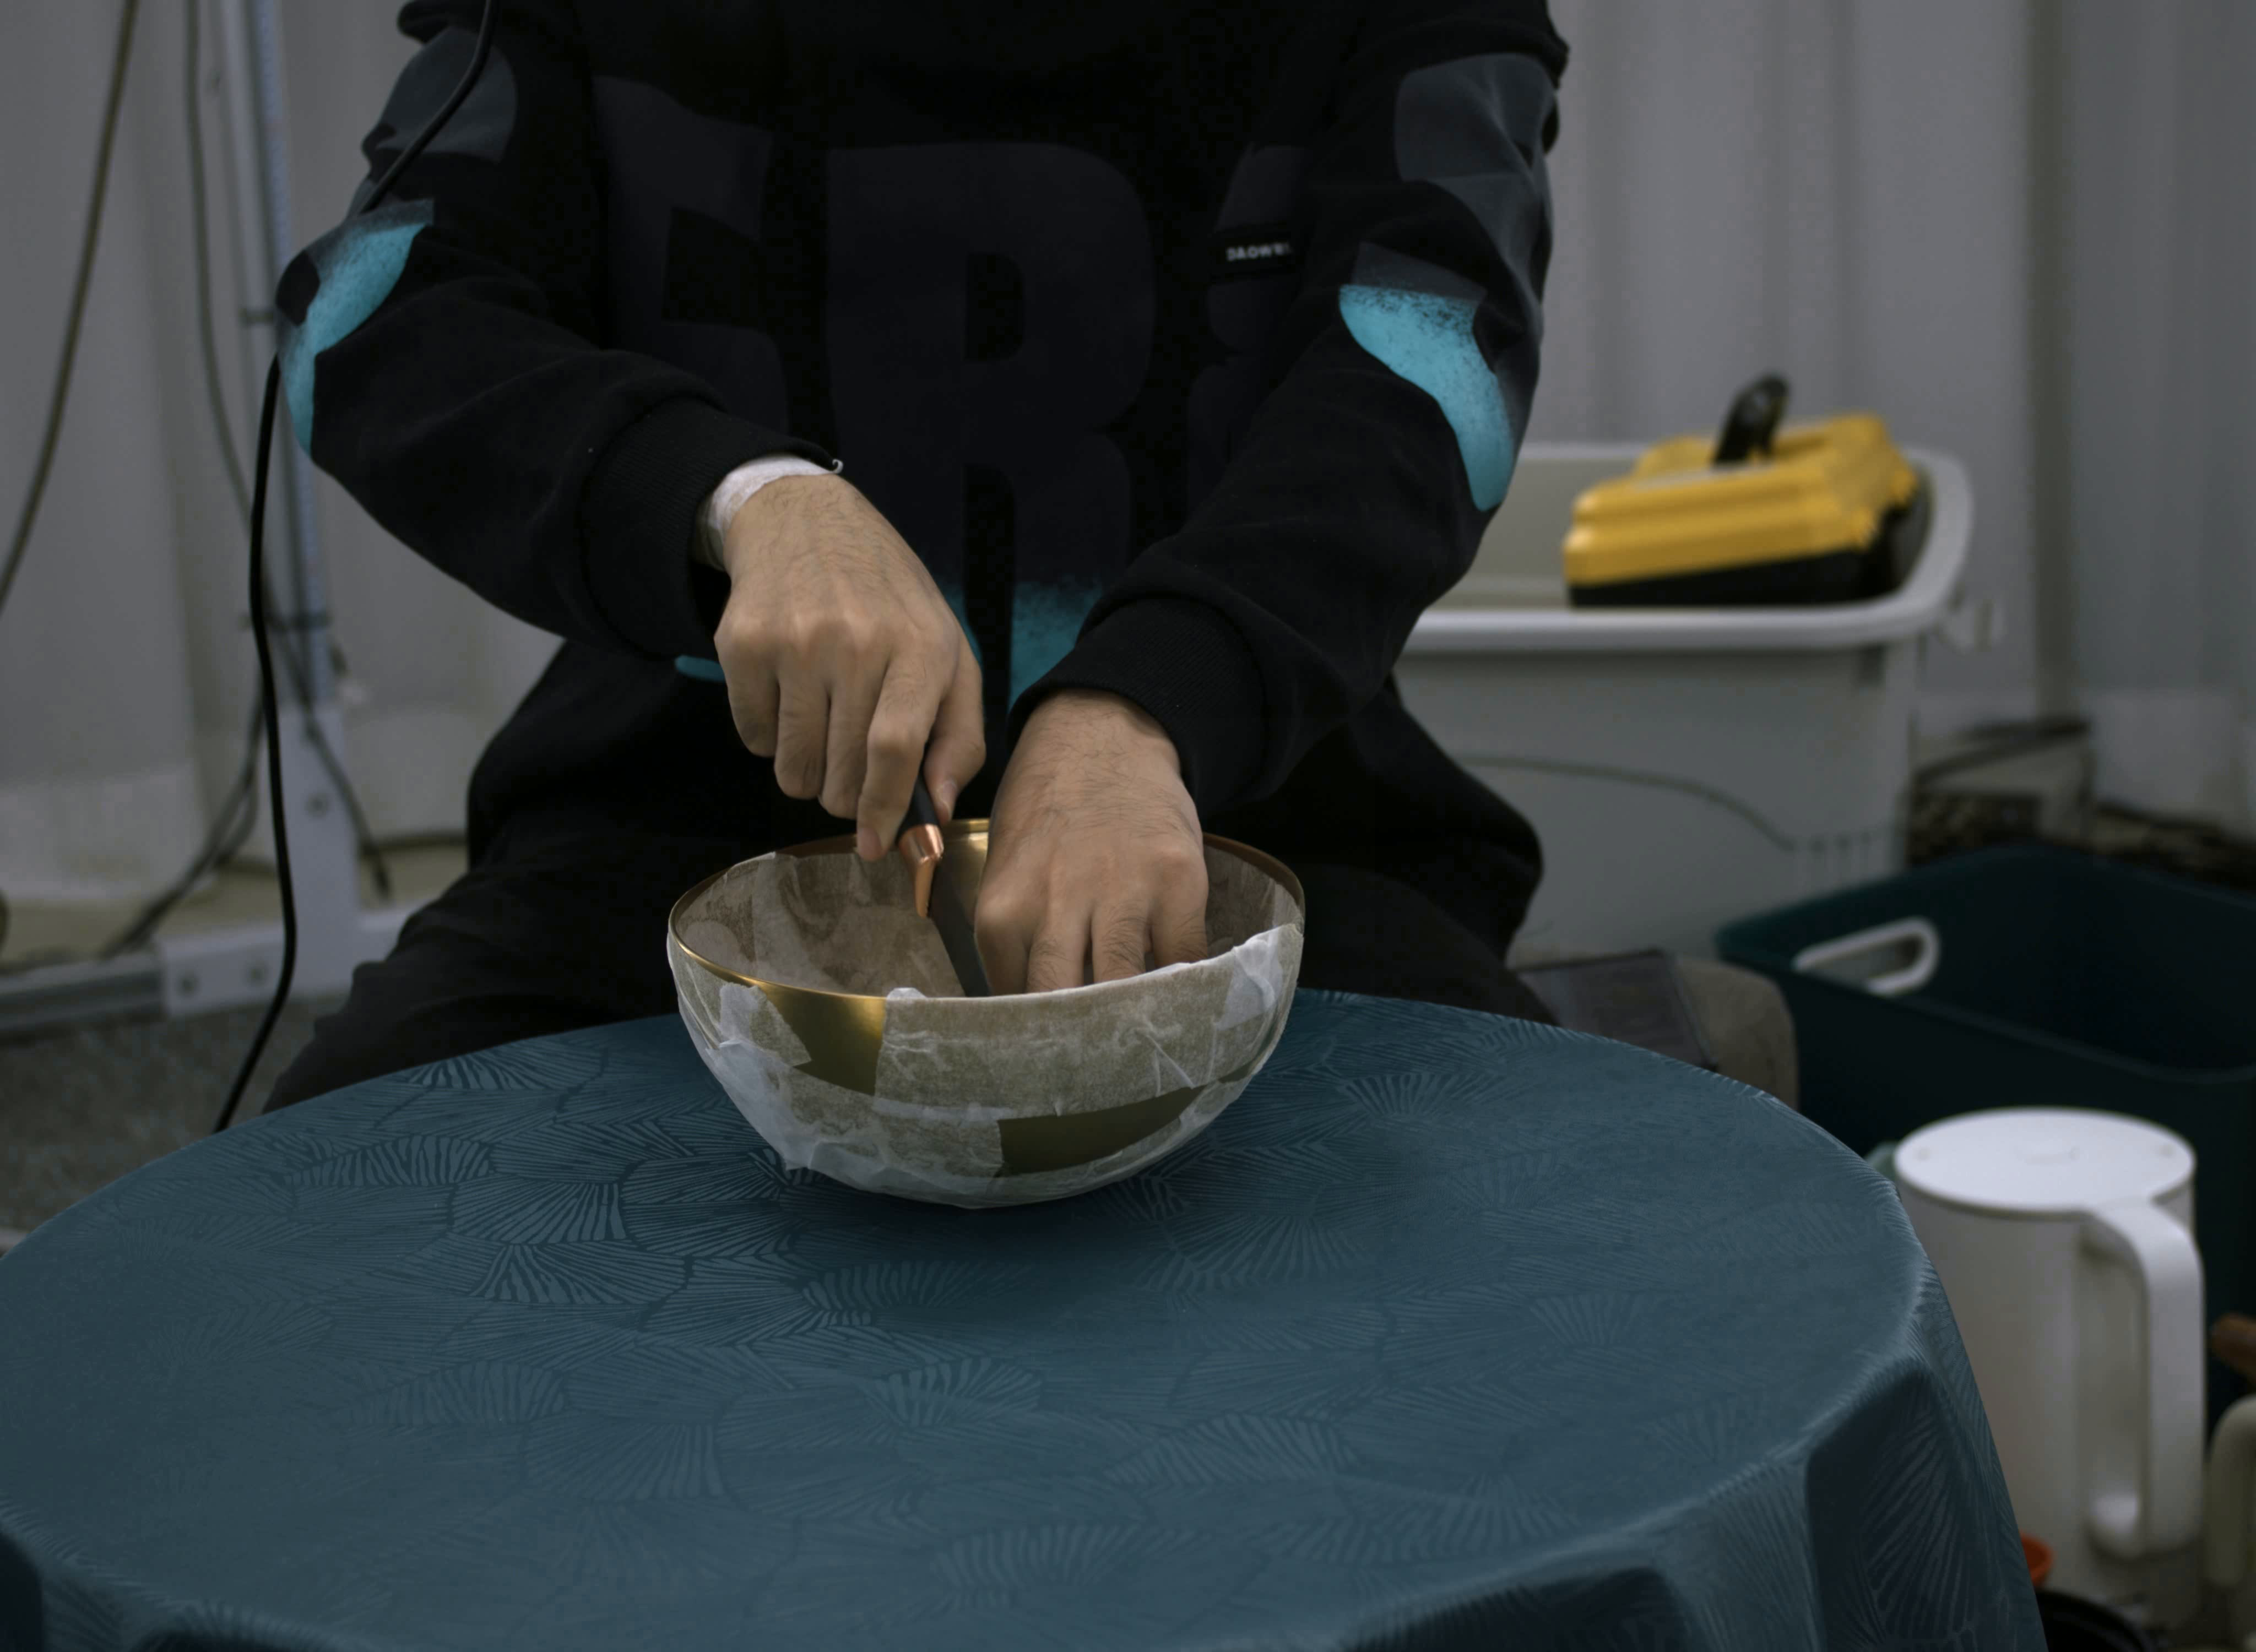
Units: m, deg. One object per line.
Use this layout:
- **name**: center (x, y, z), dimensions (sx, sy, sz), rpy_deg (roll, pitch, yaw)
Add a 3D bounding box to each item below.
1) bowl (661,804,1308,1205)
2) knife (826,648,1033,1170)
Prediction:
- **bowl**: center (-0.042, 0.063, 1.729), dimensions (0.214, 0.094, 0.216), rpy_deg (-4, 16, 1)
- **knife**: center (-0.061, 0.023, 1.736), dimensions (0.017, 0.026, 0.229), rpy_deg (1, 42, -24)
